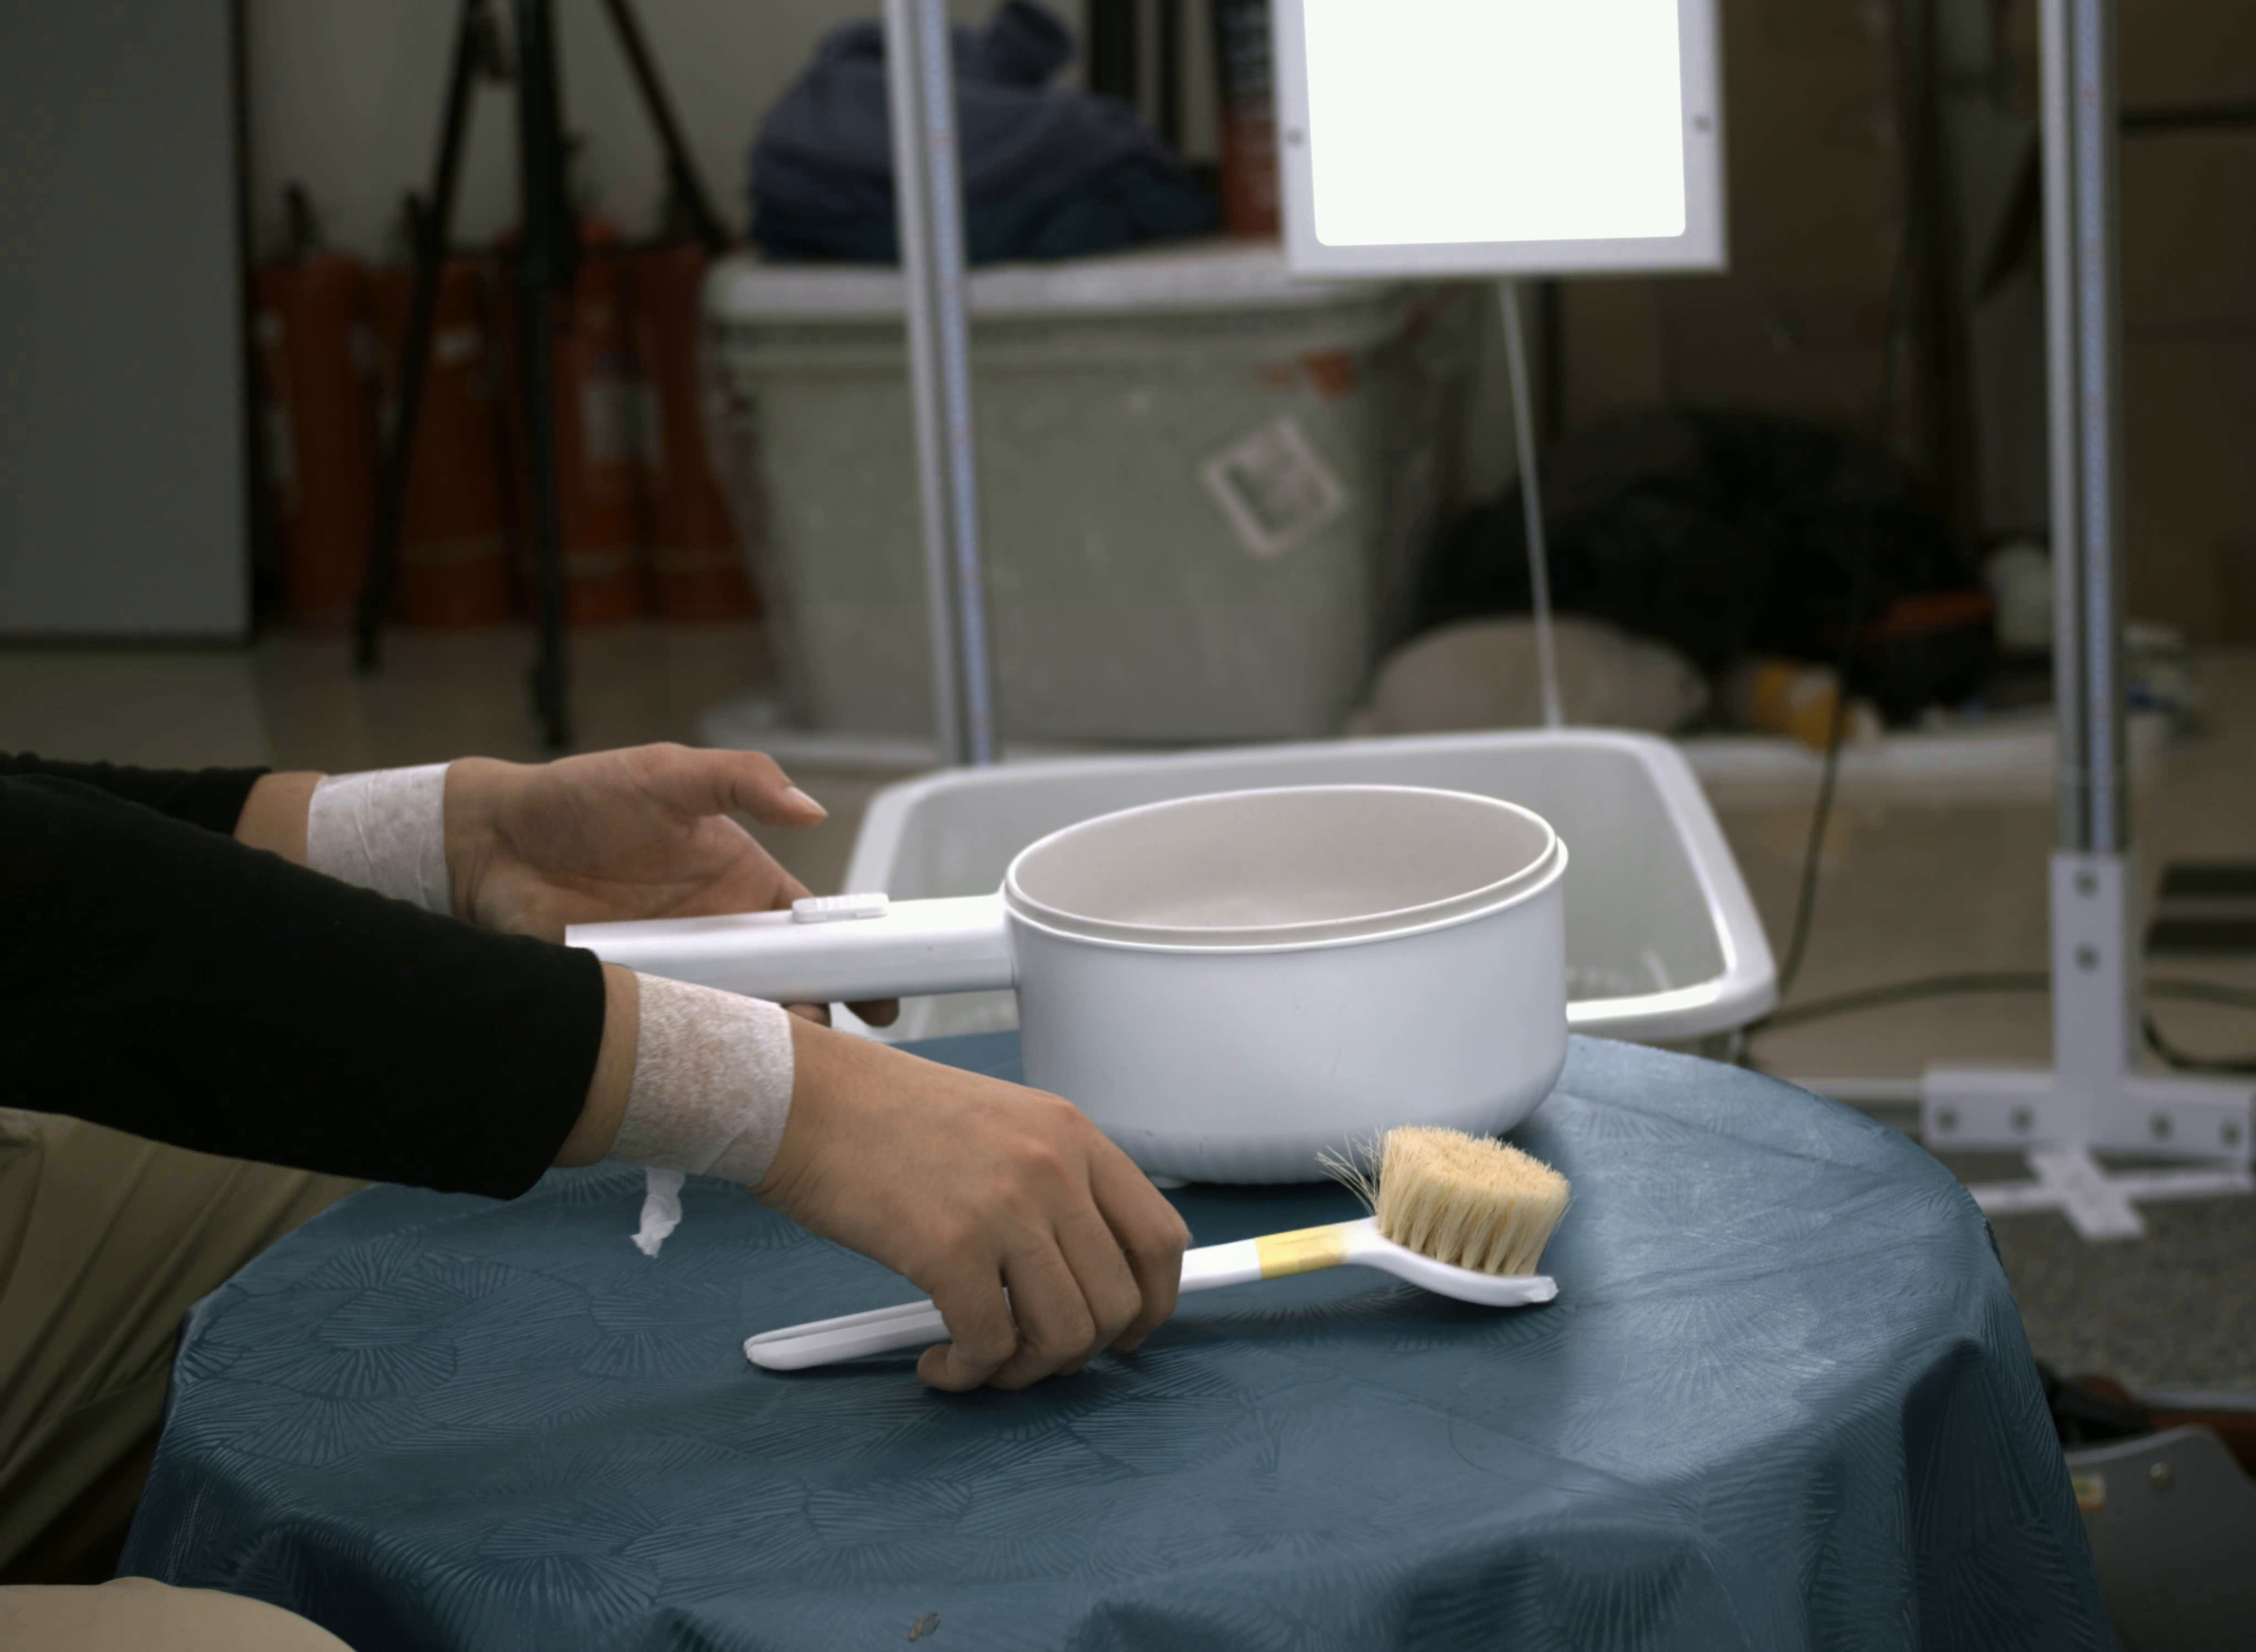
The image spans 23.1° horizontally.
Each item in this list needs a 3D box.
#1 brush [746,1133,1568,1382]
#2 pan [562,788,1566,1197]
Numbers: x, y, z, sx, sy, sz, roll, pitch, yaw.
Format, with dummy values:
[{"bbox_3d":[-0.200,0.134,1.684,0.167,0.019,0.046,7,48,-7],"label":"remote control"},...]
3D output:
[{"bbox_3d":[0.009,0.136,1.745,0.266,0.056,0.068,-6,9,2],"label":"brush"},{"bbox_3d":[-0.019,0.068,1.941,0.353,0.102,0.201,-6,15,-2],"label":"pan"}]
